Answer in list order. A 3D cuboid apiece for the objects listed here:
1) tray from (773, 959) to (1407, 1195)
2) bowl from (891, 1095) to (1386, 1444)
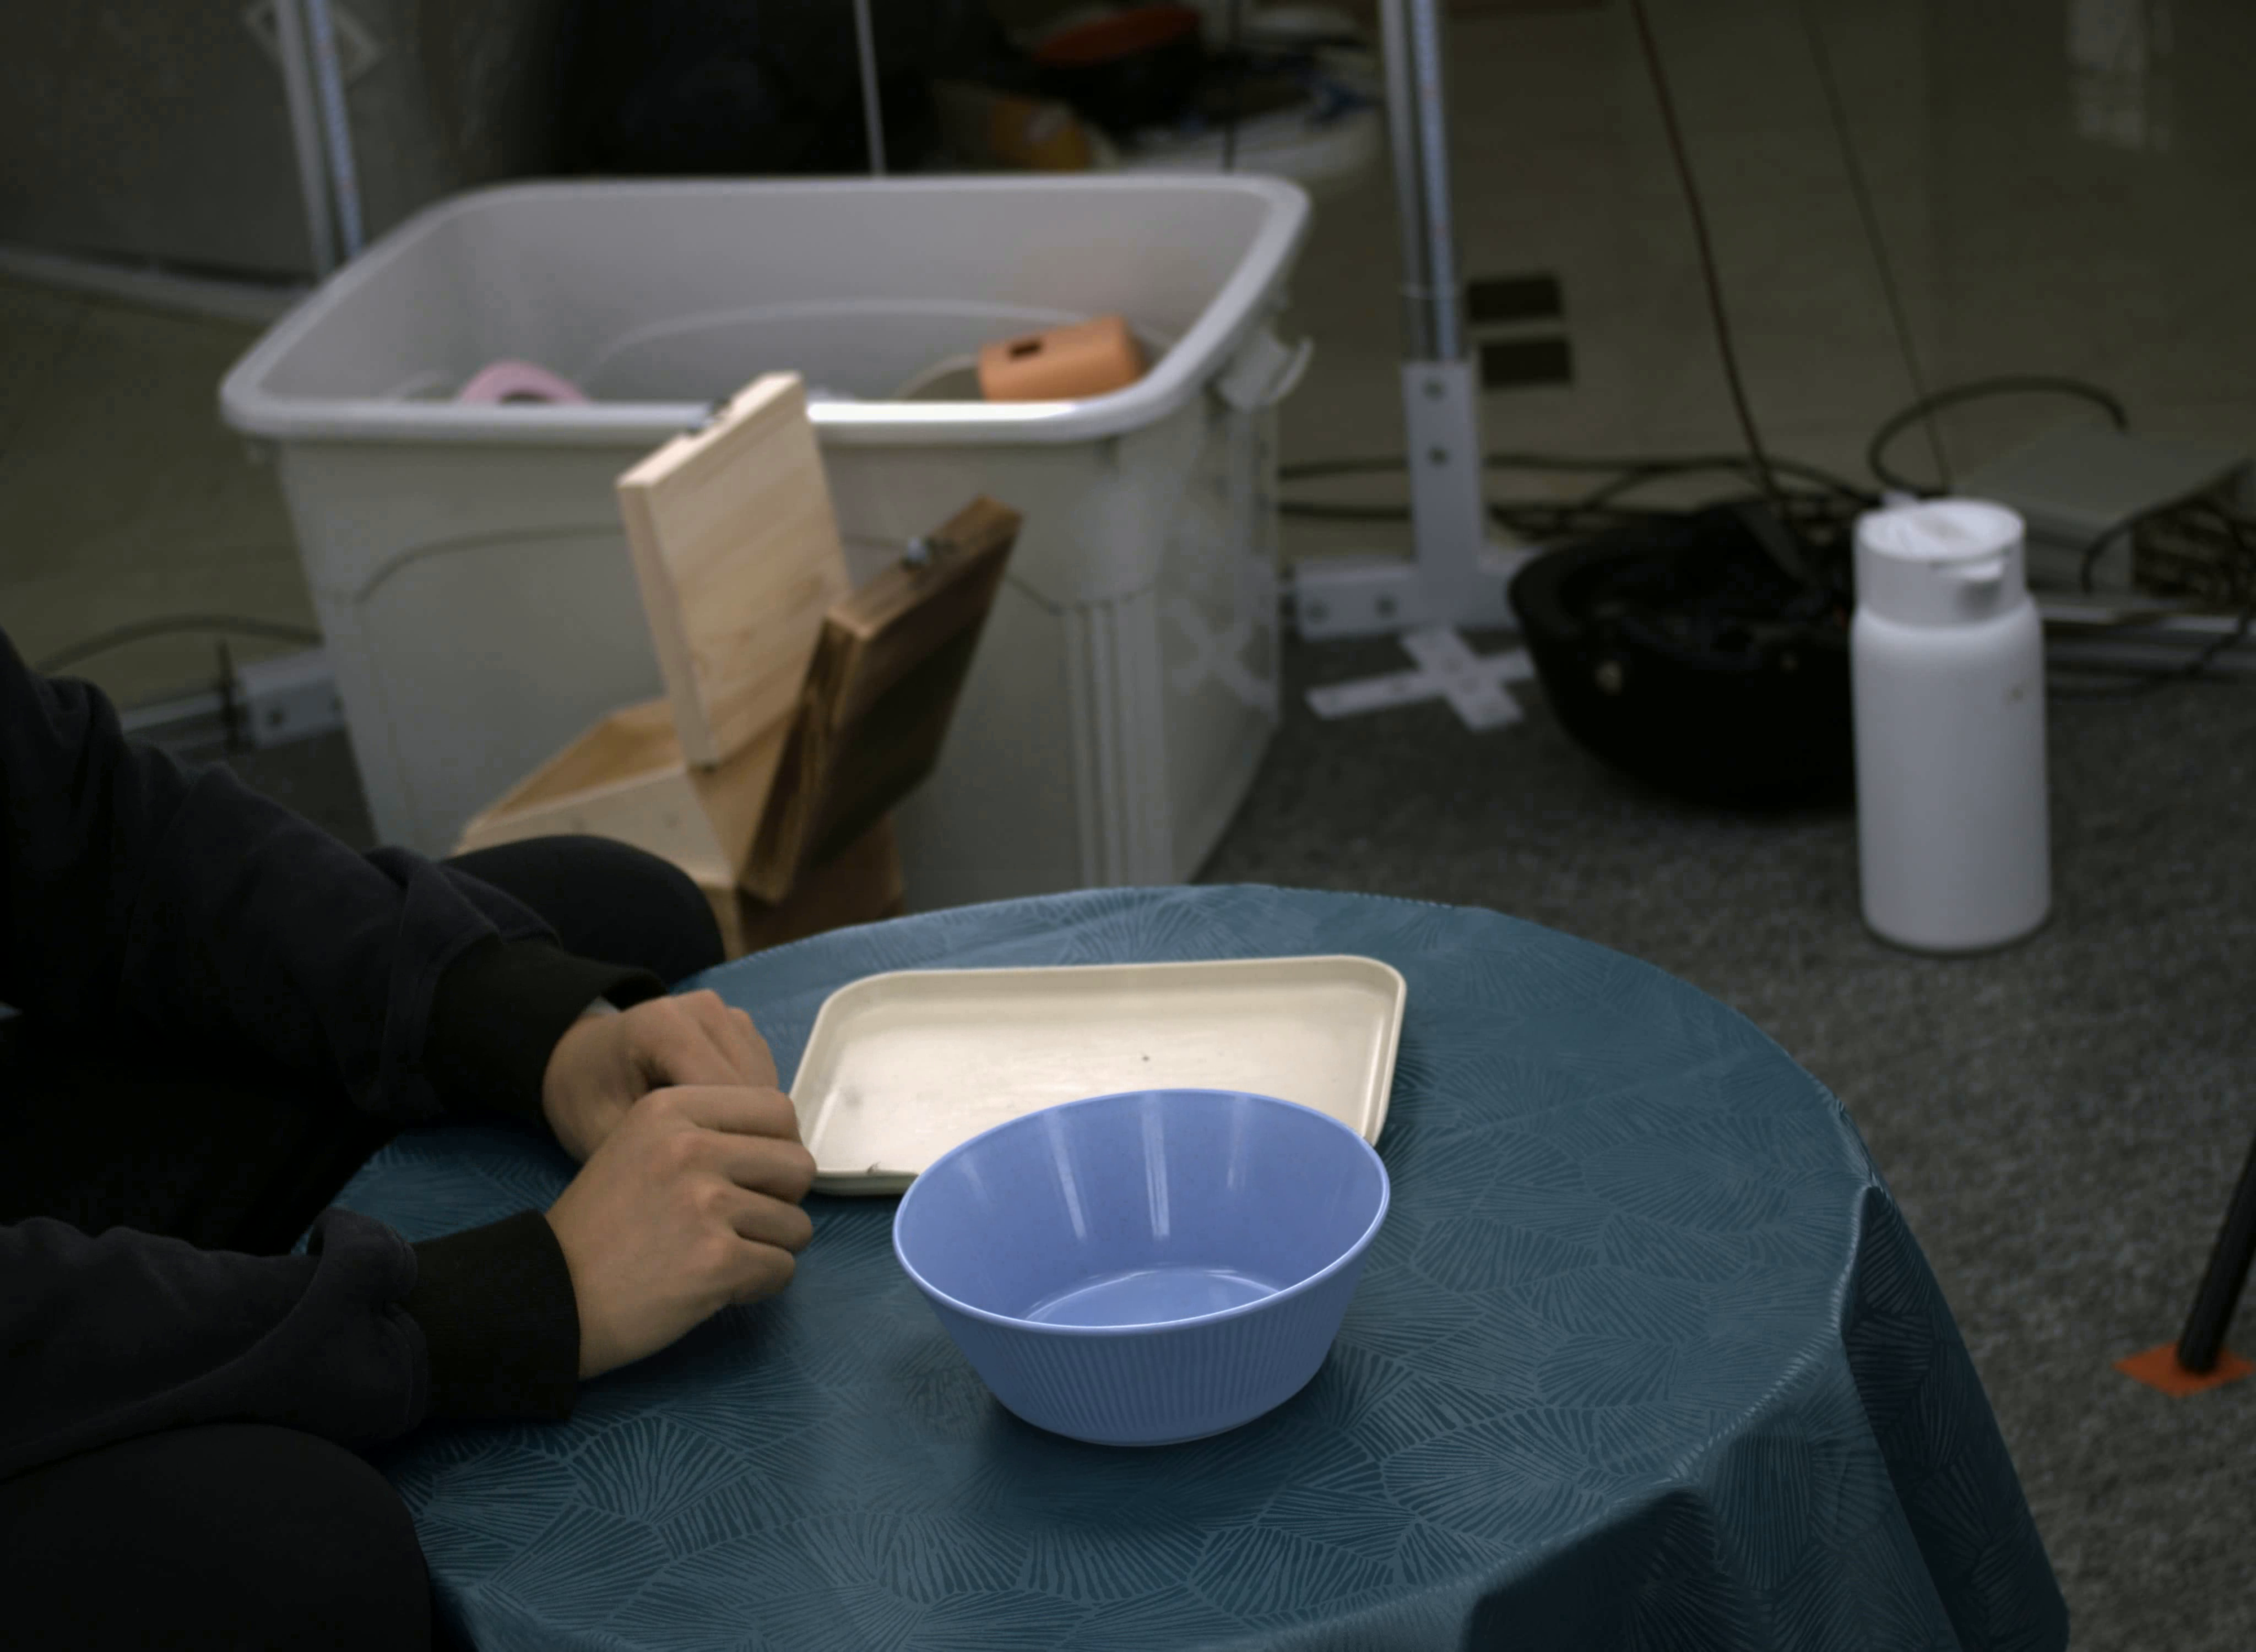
[{"bbox_3d":[-0.012,0.099,2.220,0.239,0.018,0.169,-2,25,9],"label":"tray"},{"bbox_3d":[0.006,0.163,2.014,0.176,0.071,0.173,-4,25,2],"label":"bowl"}]
